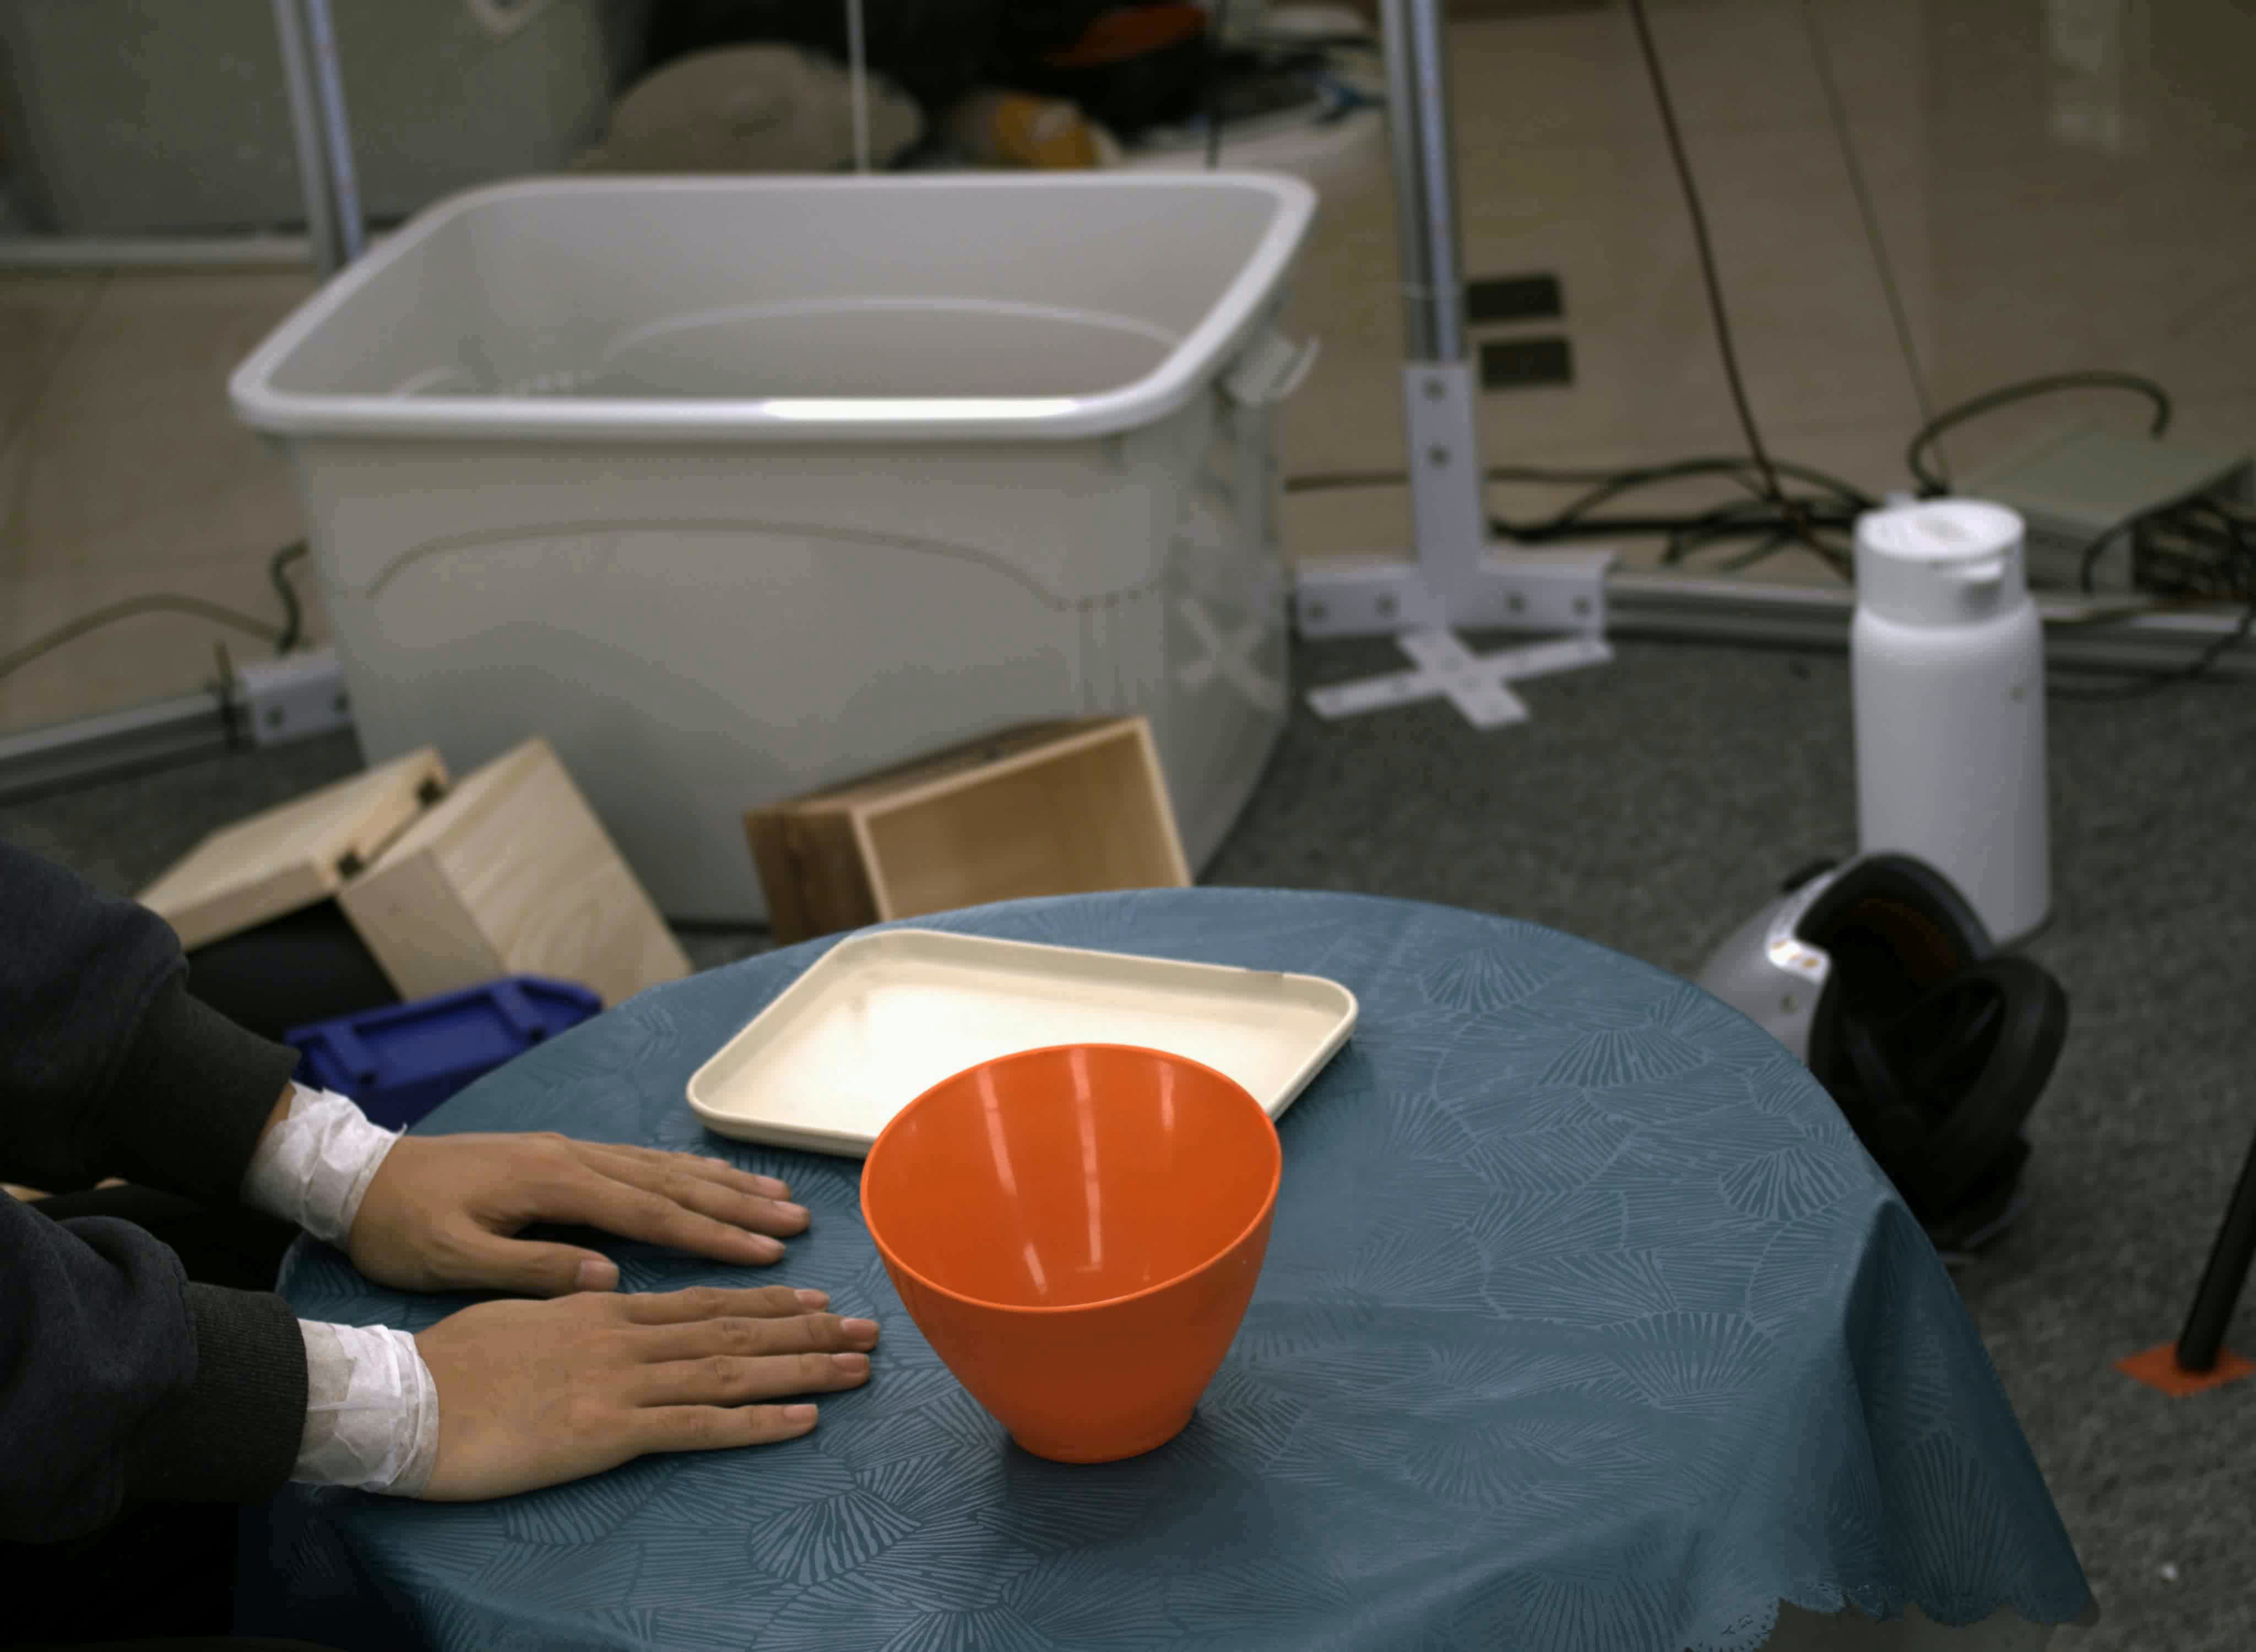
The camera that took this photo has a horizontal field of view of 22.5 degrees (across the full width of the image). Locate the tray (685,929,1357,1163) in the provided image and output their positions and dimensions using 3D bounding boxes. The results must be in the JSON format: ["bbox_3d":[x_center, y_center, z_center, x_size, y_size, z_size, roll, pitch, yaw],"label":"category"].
[{"bbox_3d":[-0.041,0.093,2.234,0.239,0.018,0.169,6,29,26],"label":"tray"}]

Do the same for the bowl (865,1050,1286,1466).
[{"bbox_3d":[-0.015,0.158,1.989,0.148,0.106,0.146,-4,25,2],"label":"bowl"}]
